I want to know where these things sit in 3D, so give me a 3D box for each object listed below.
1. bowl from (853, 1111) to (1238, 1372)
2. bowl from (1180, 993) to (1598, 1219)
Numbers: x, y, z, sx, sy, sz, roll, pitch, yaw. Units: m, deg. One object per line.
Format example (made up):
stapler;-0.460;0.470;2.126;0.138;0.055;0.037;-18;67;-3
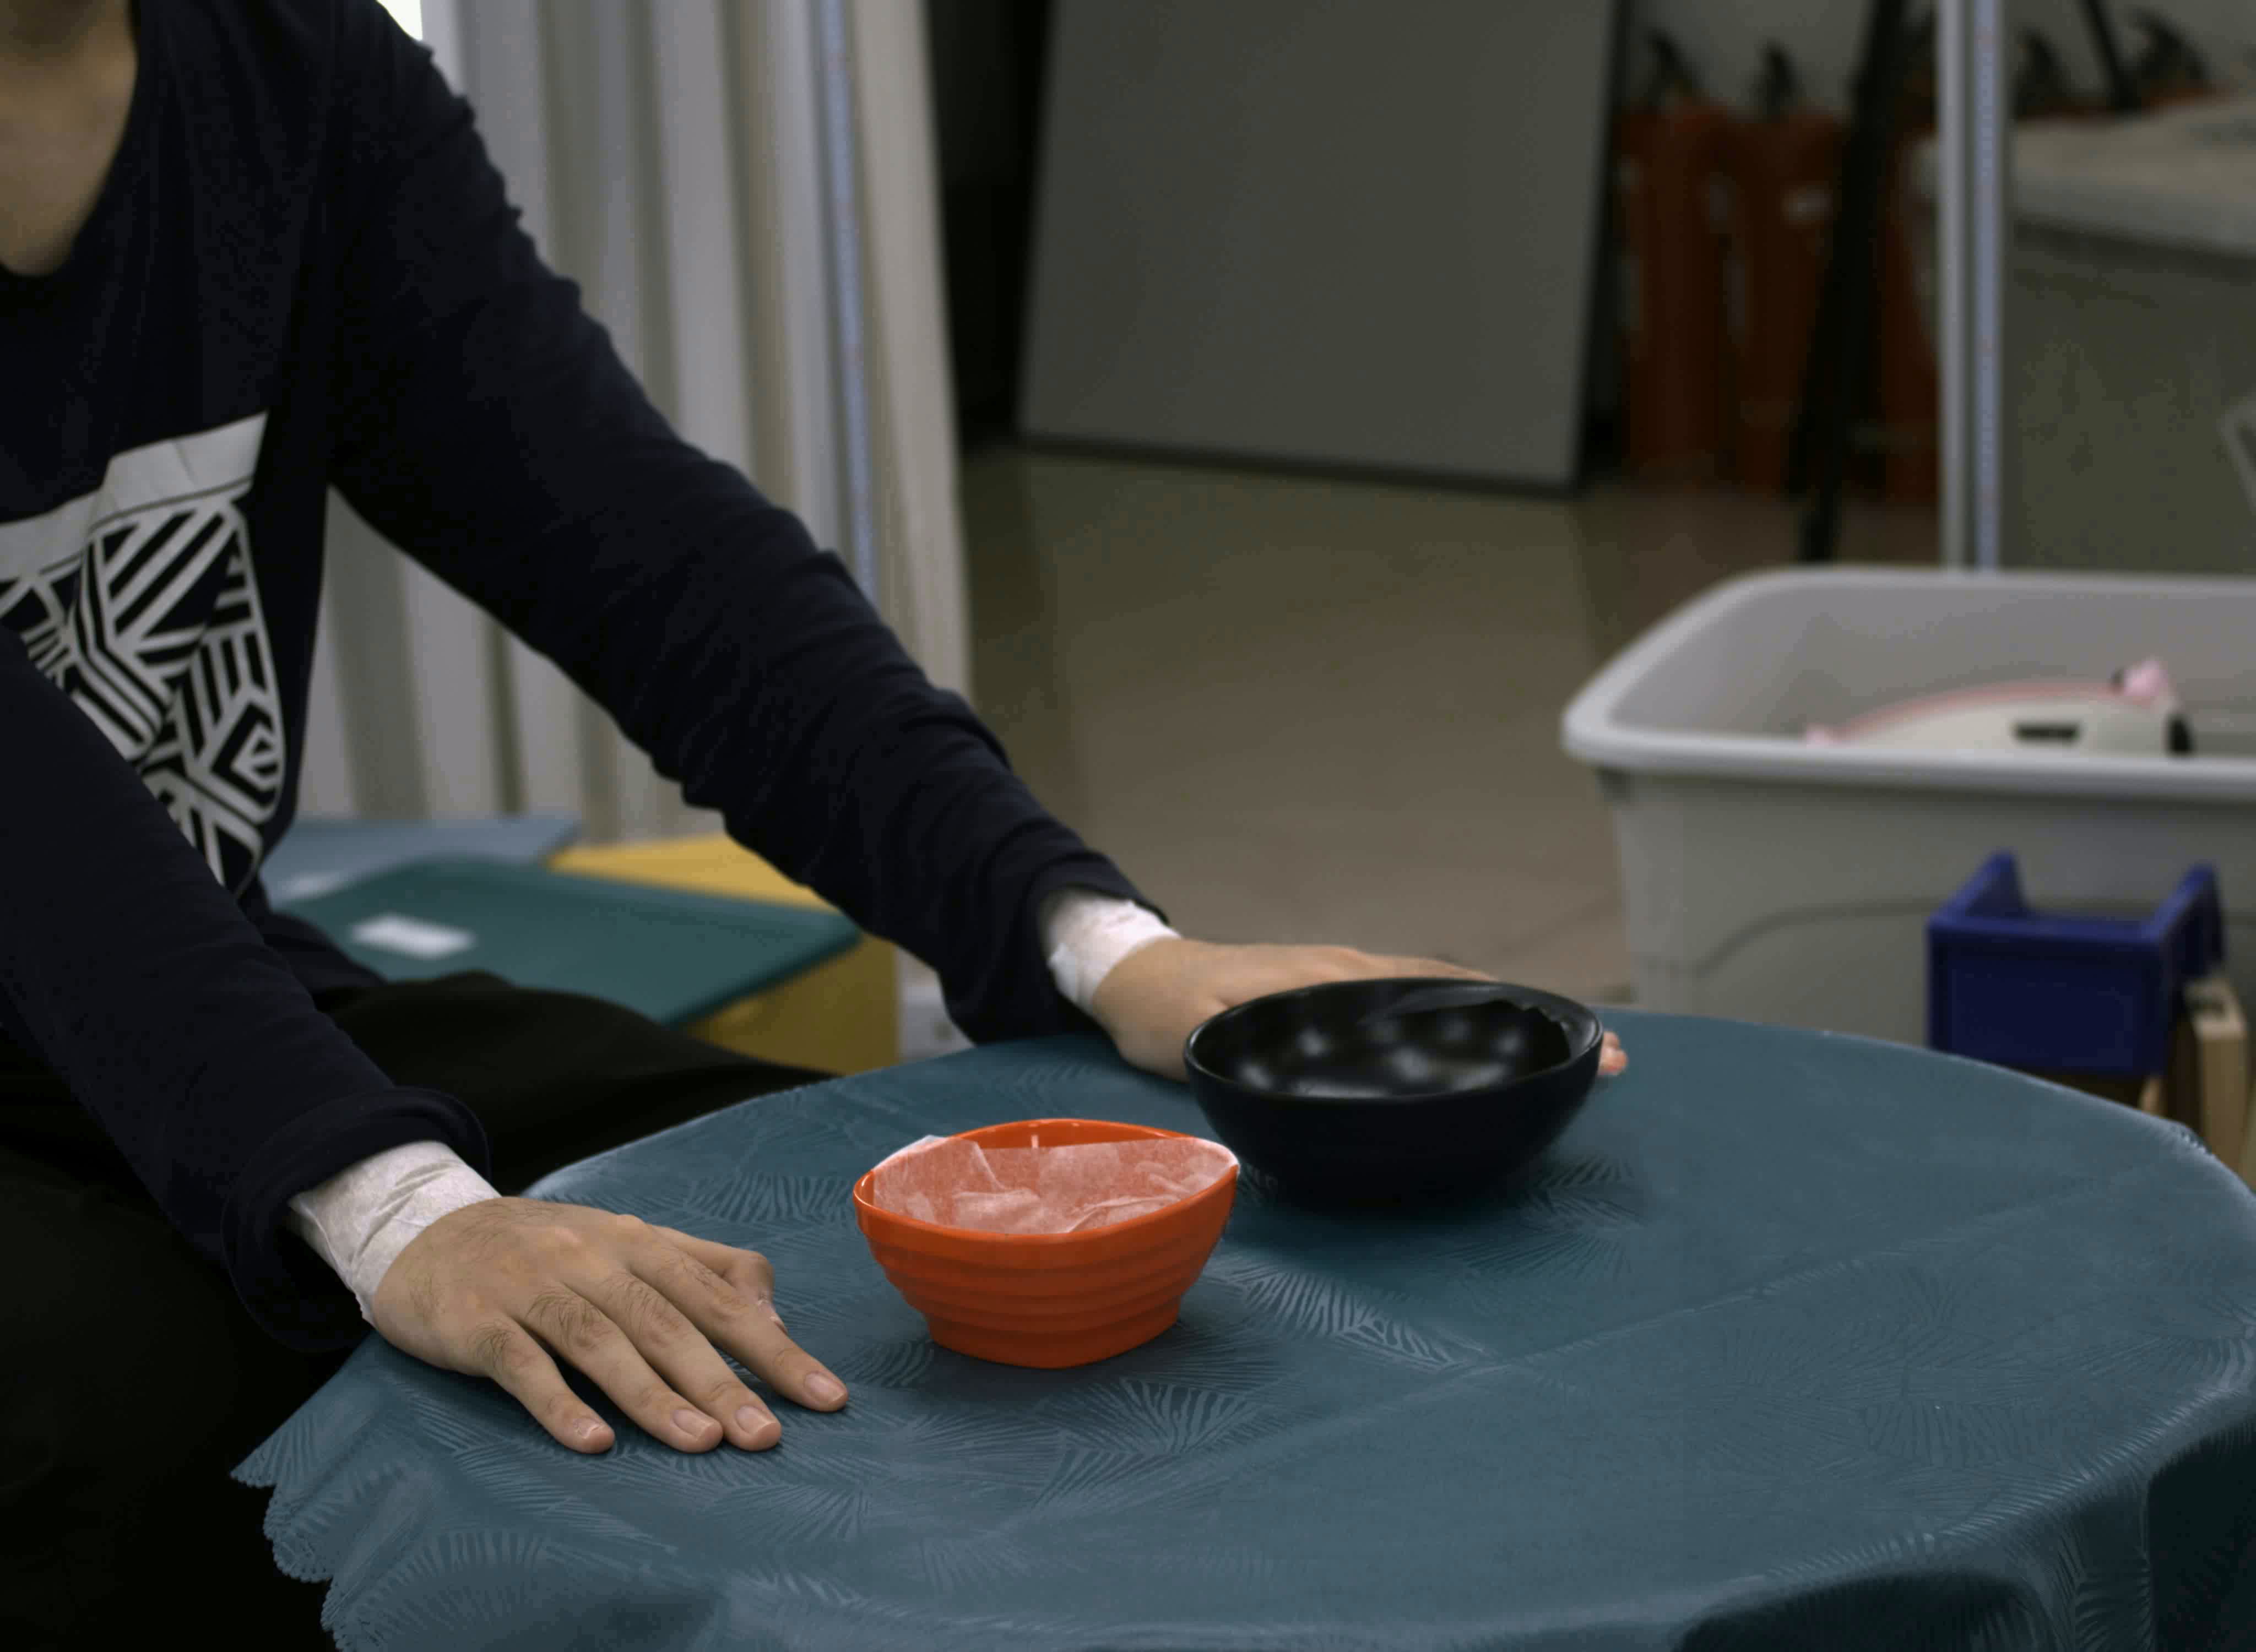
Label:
bowl;-0.024;0.128;1.640;0.117;0.052;0.119;-4;15;0
bowl;0.088;0.095;1.765;0.138;0.050;0.140;-7;10;0
